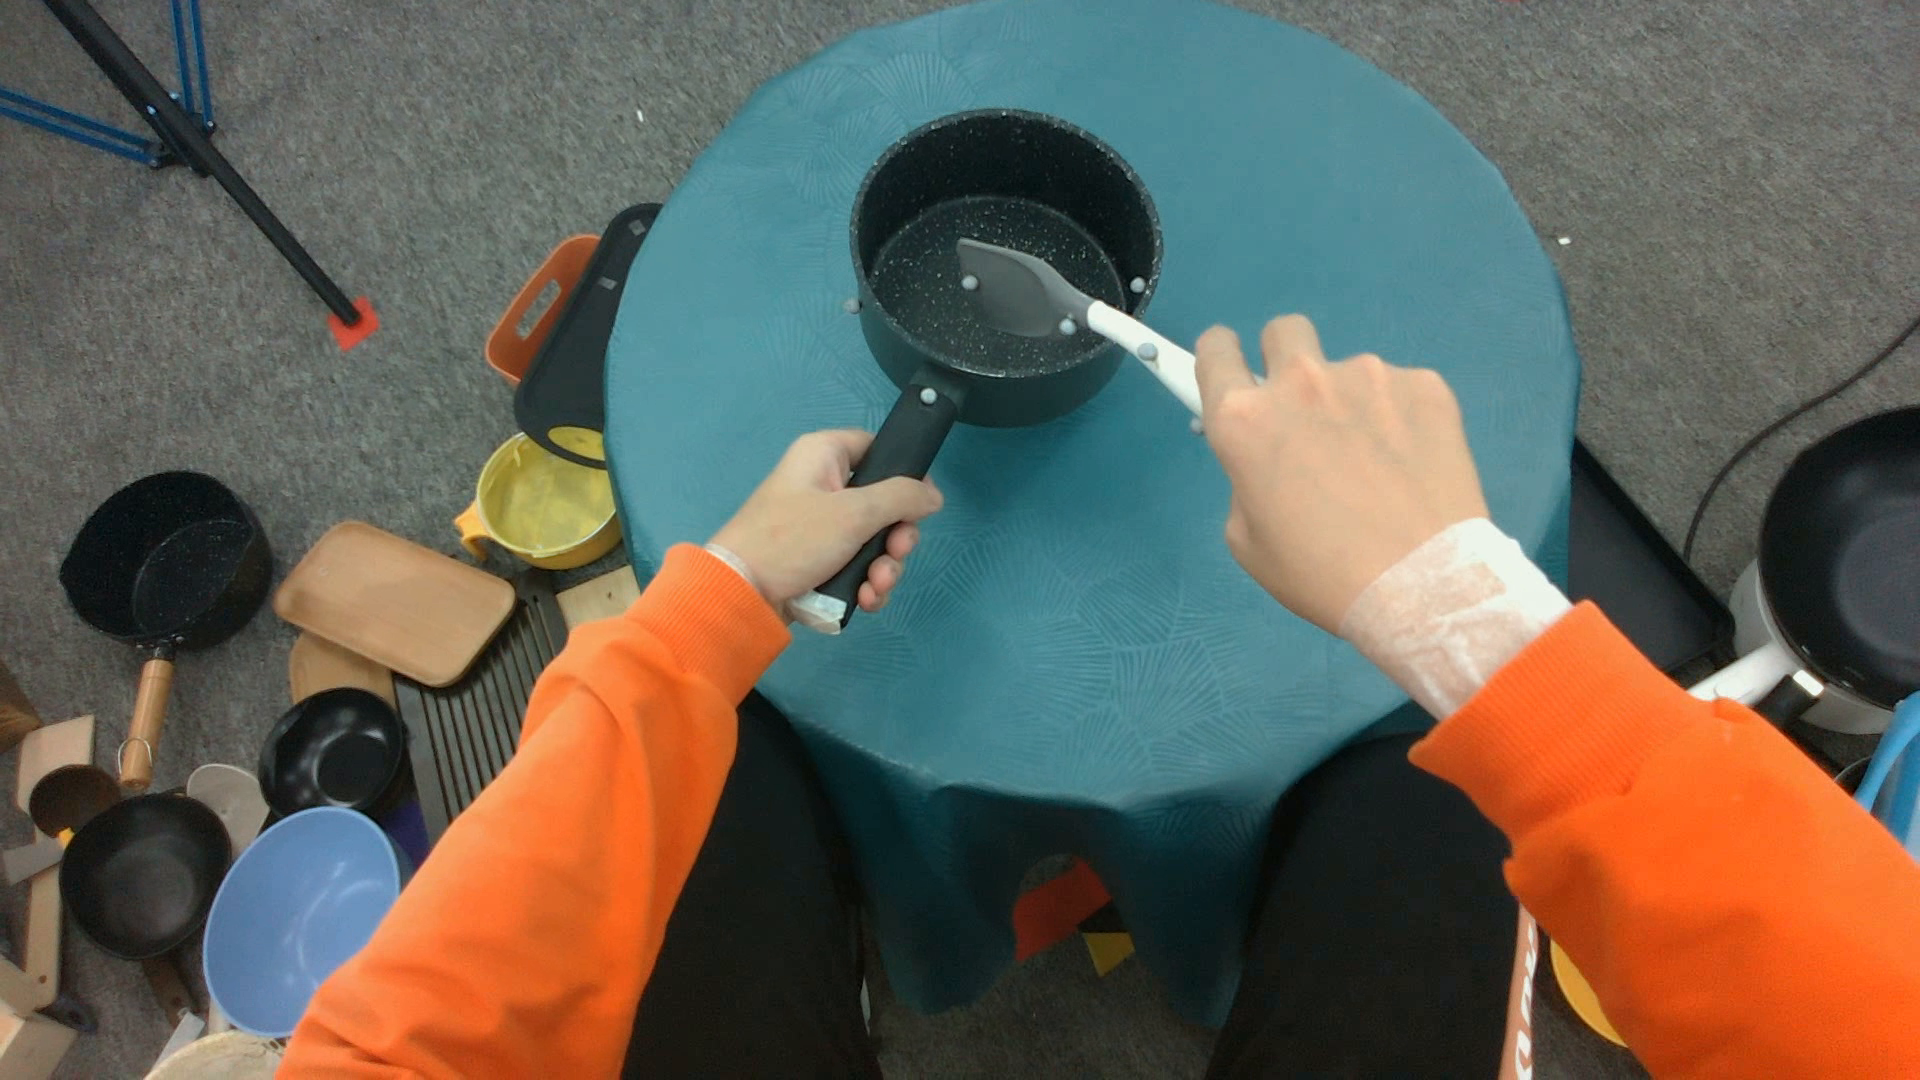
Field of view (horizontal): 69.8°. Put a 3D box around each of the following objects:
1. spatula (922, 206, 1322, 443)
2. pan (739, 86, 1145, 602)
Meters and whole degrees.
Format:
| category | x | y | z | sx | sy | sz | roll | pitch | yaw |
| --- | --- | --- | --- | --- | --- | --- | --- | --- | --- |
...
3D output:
| category | x | y | z | sx | sy | sz | roll | pitch | yaw |
| --- | --- | --- | --- | --- | --- | --- | --- | --- | --- |
| spatula | 0.060 | -0.106 | 0.640 | 0.032 | 0.058 | 0.288 | -31 | 35 | -15 |
| pan | -0.020 | -0.098 | 0.744 | 0.172 | 0.086 | 0.330 | 25 | 67 | 7 |
